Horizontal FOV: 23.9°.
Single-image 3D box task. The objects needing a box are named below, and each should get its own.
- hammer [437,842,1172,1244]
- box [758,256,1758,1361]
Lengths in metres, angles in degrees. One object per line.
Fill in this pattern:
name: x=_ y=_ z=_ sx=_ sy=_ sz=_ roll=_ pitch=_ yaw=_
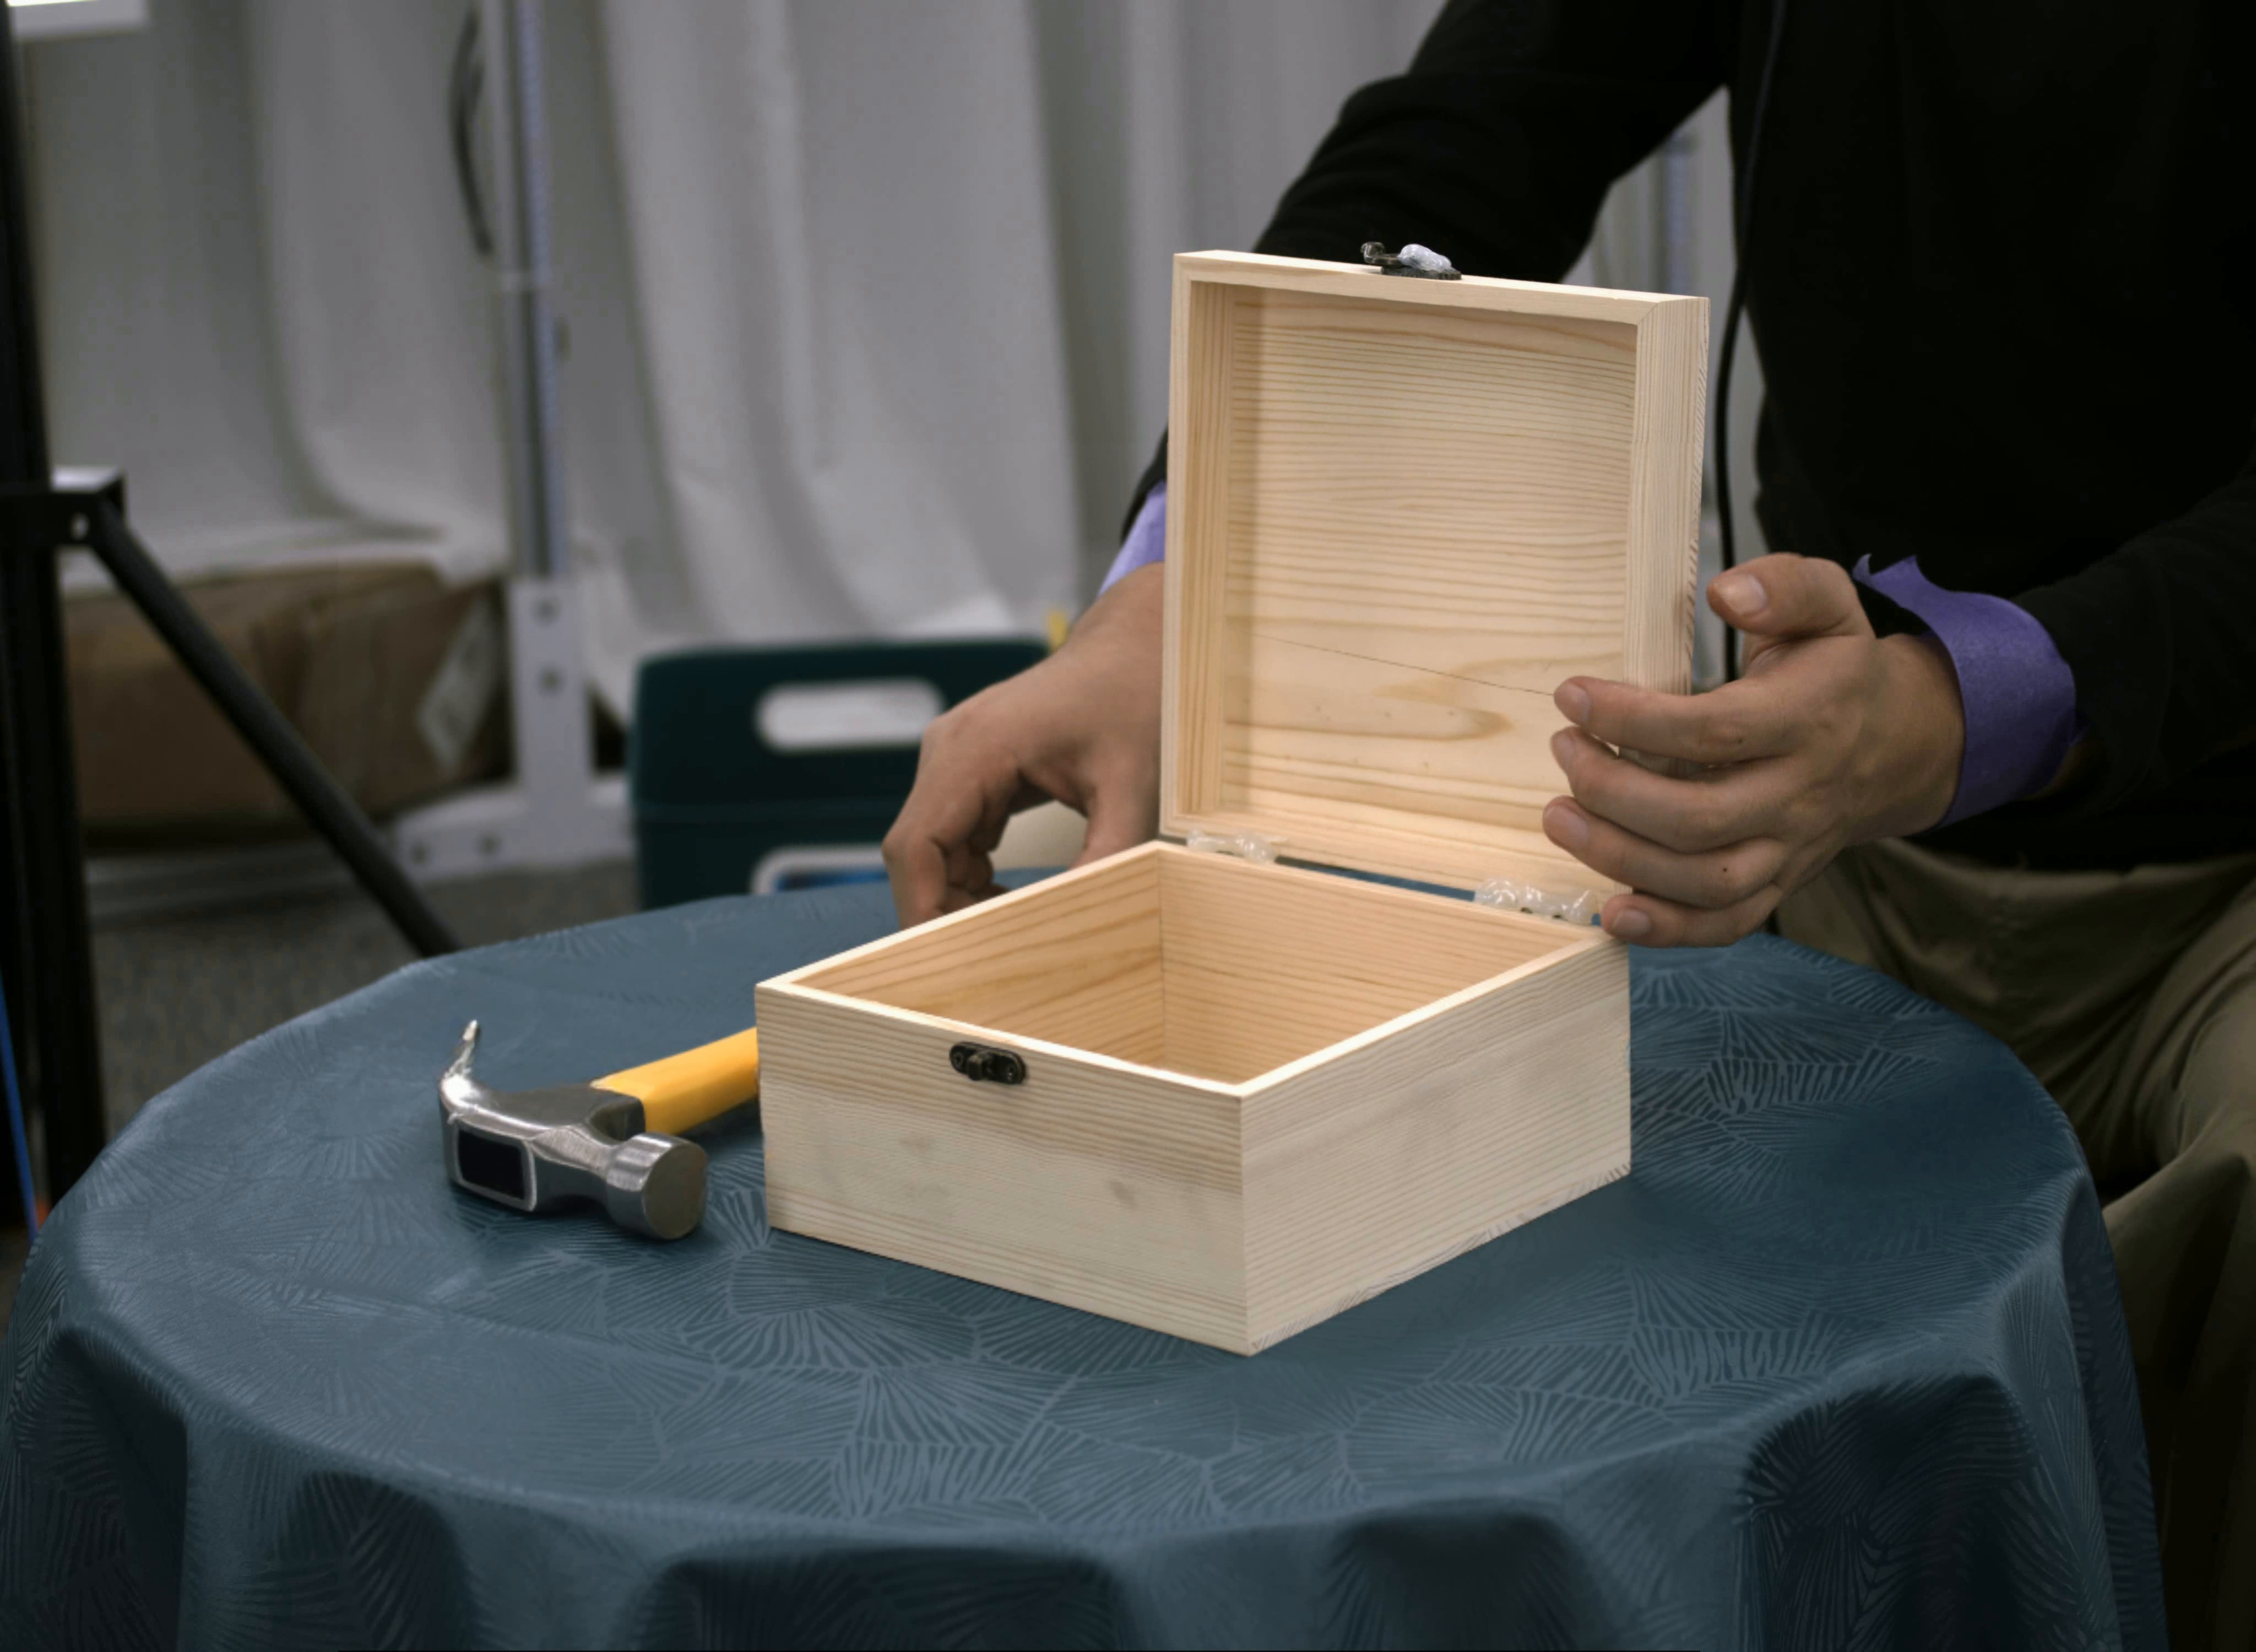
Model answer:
hammer: x=-0.078 y=0.057 z=1.680 sx=0.134 sy=0.032 sz=0.331 roll=12 pitch=23 yaw=41
box: x=0.039 y=-0.018 z=1.537 sx=0.186 sy=0.253 sz=0.259 roll=8 pitch=19 yaw=40
